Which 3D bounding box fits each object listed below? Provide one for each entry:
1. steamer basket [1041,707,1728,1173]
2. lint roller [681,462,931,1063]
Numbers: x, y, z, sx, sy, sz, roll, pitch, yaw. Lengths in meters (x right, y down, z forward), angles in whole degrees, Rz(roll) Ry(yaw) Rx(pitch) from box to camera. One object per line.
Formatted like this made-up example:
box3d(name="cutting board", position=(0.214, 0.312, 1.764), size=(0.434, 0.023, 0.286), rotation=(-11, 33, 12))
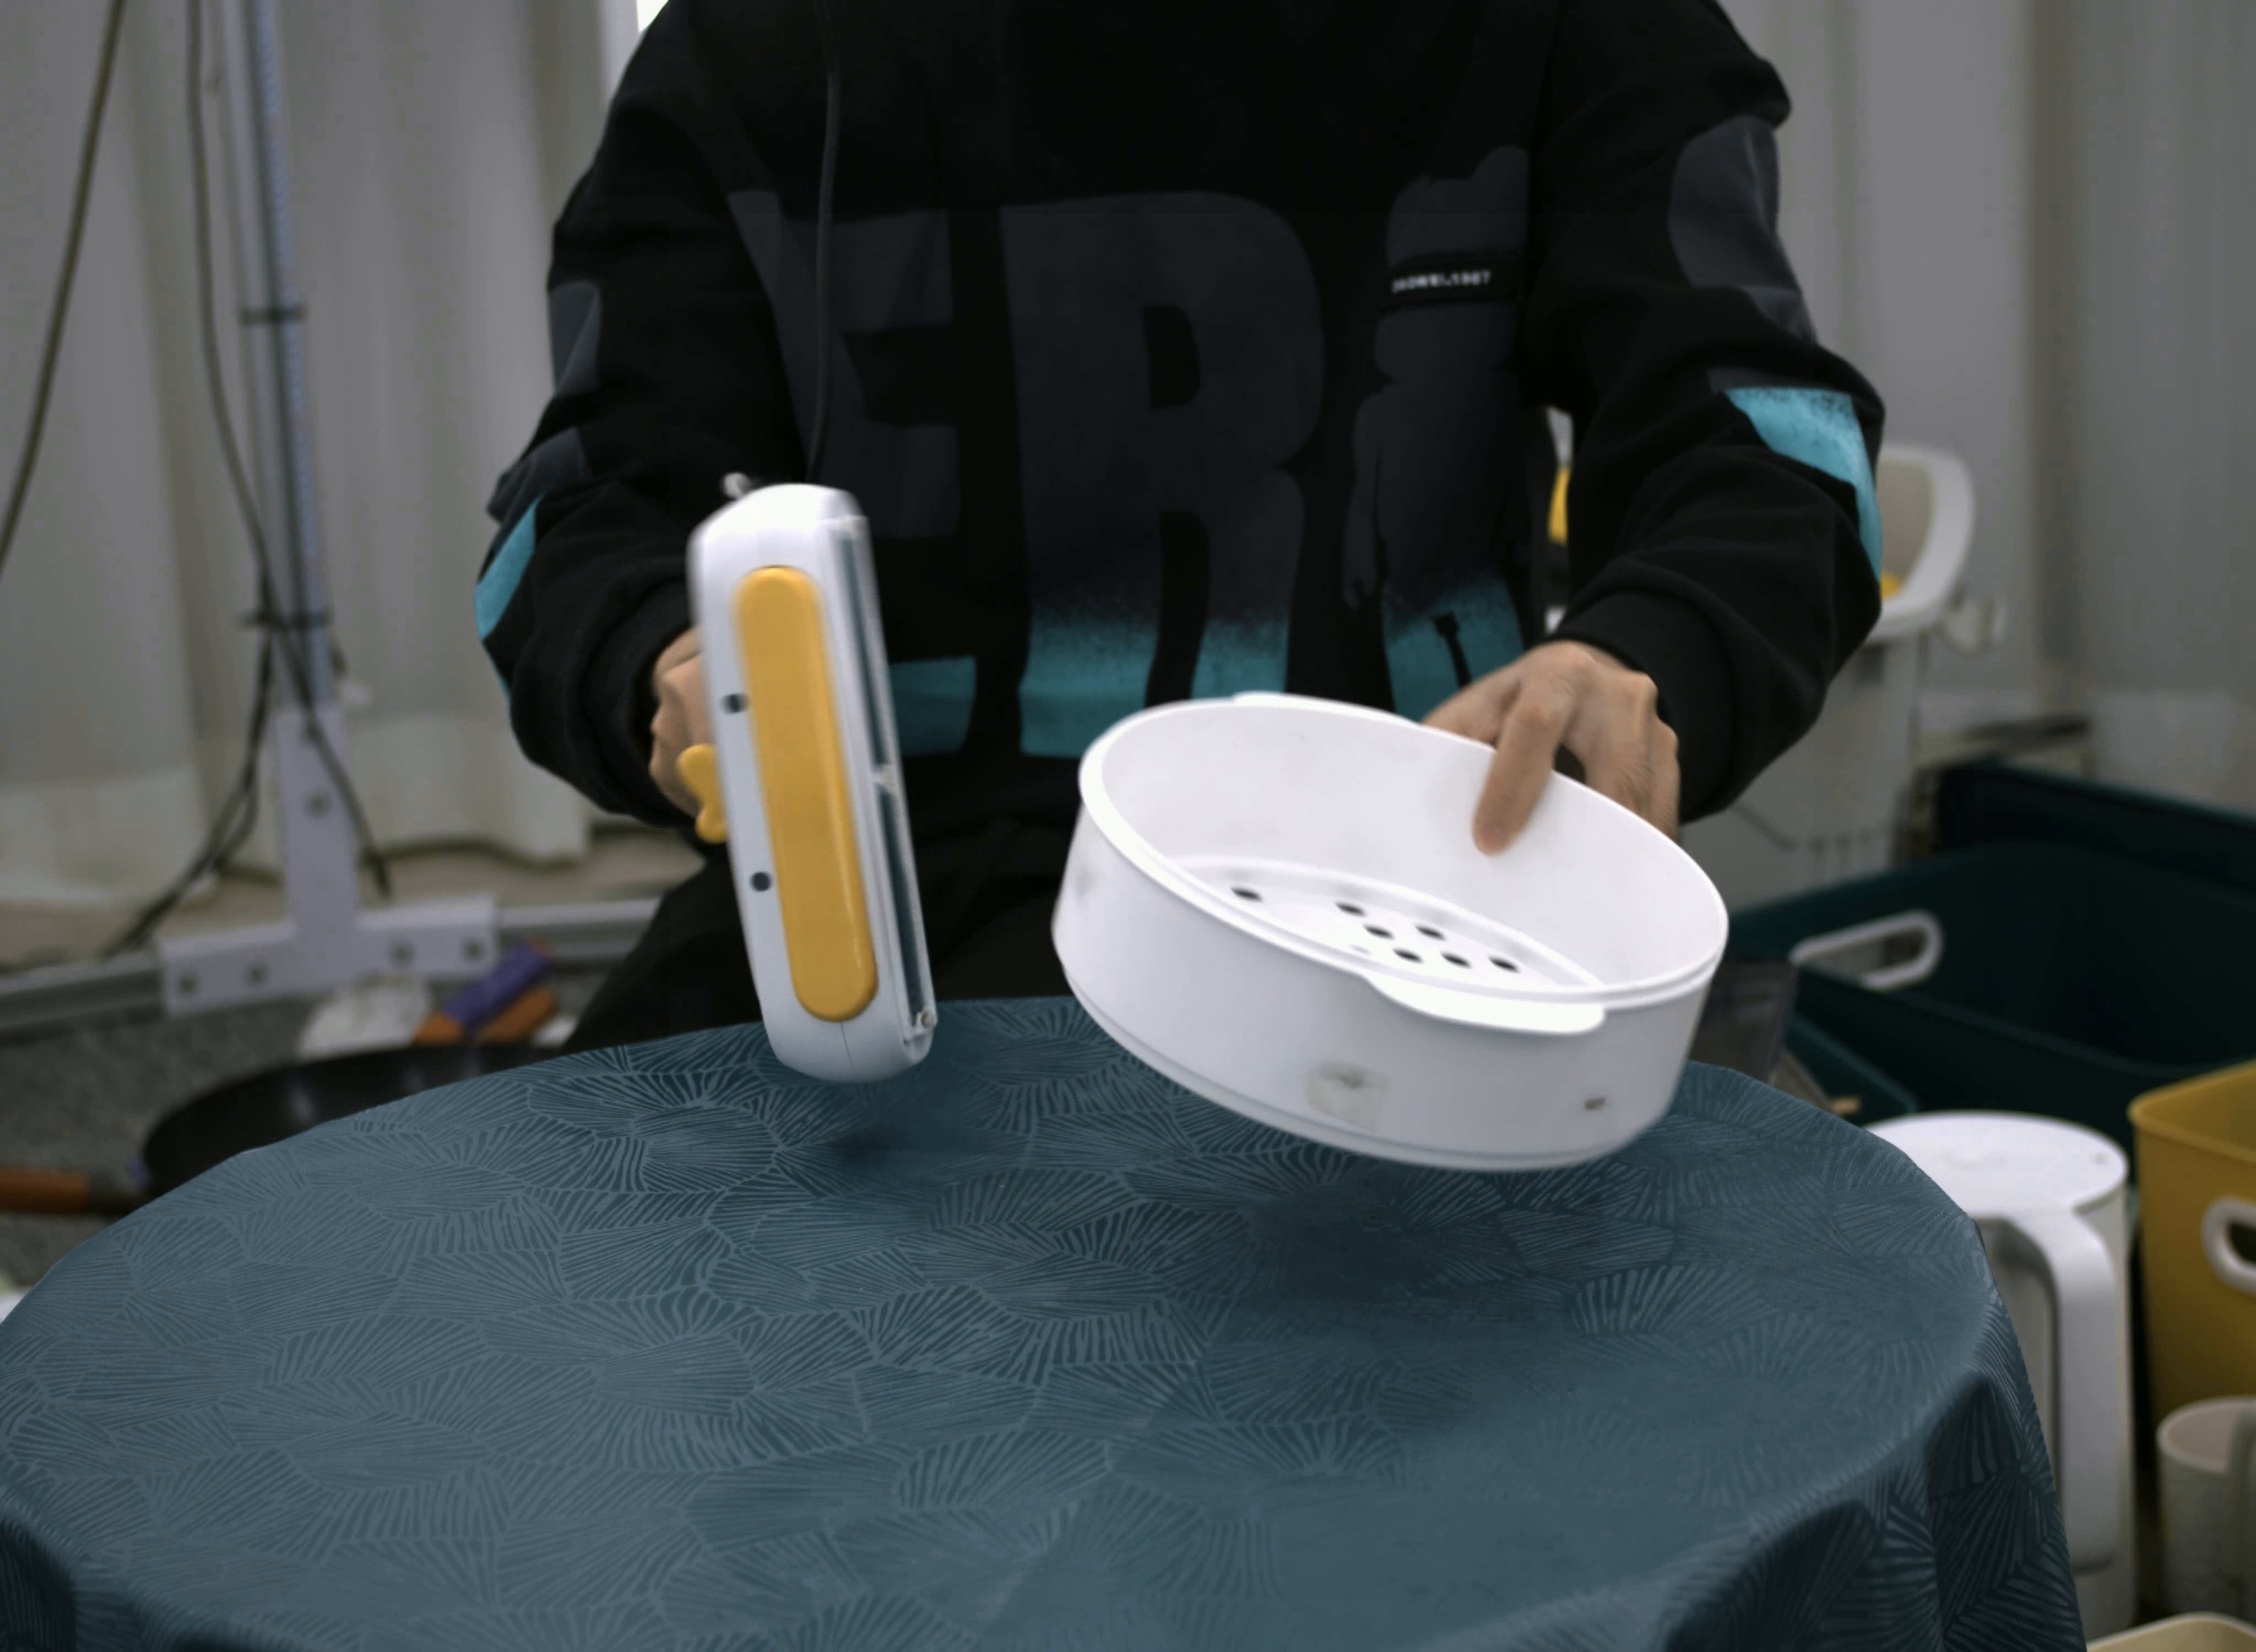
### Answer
box3d(name="steamer basket", position=(0.074, 0.034, 1.631), size=(0.200, 0.069, 0.233), rotation=(10, 20, -16))
box3d(name="lint roller", position=(-0.104, -0.020, 1.816), size=(0.074, 0.193, 0.192), rotation=(-11, 0, 2))
